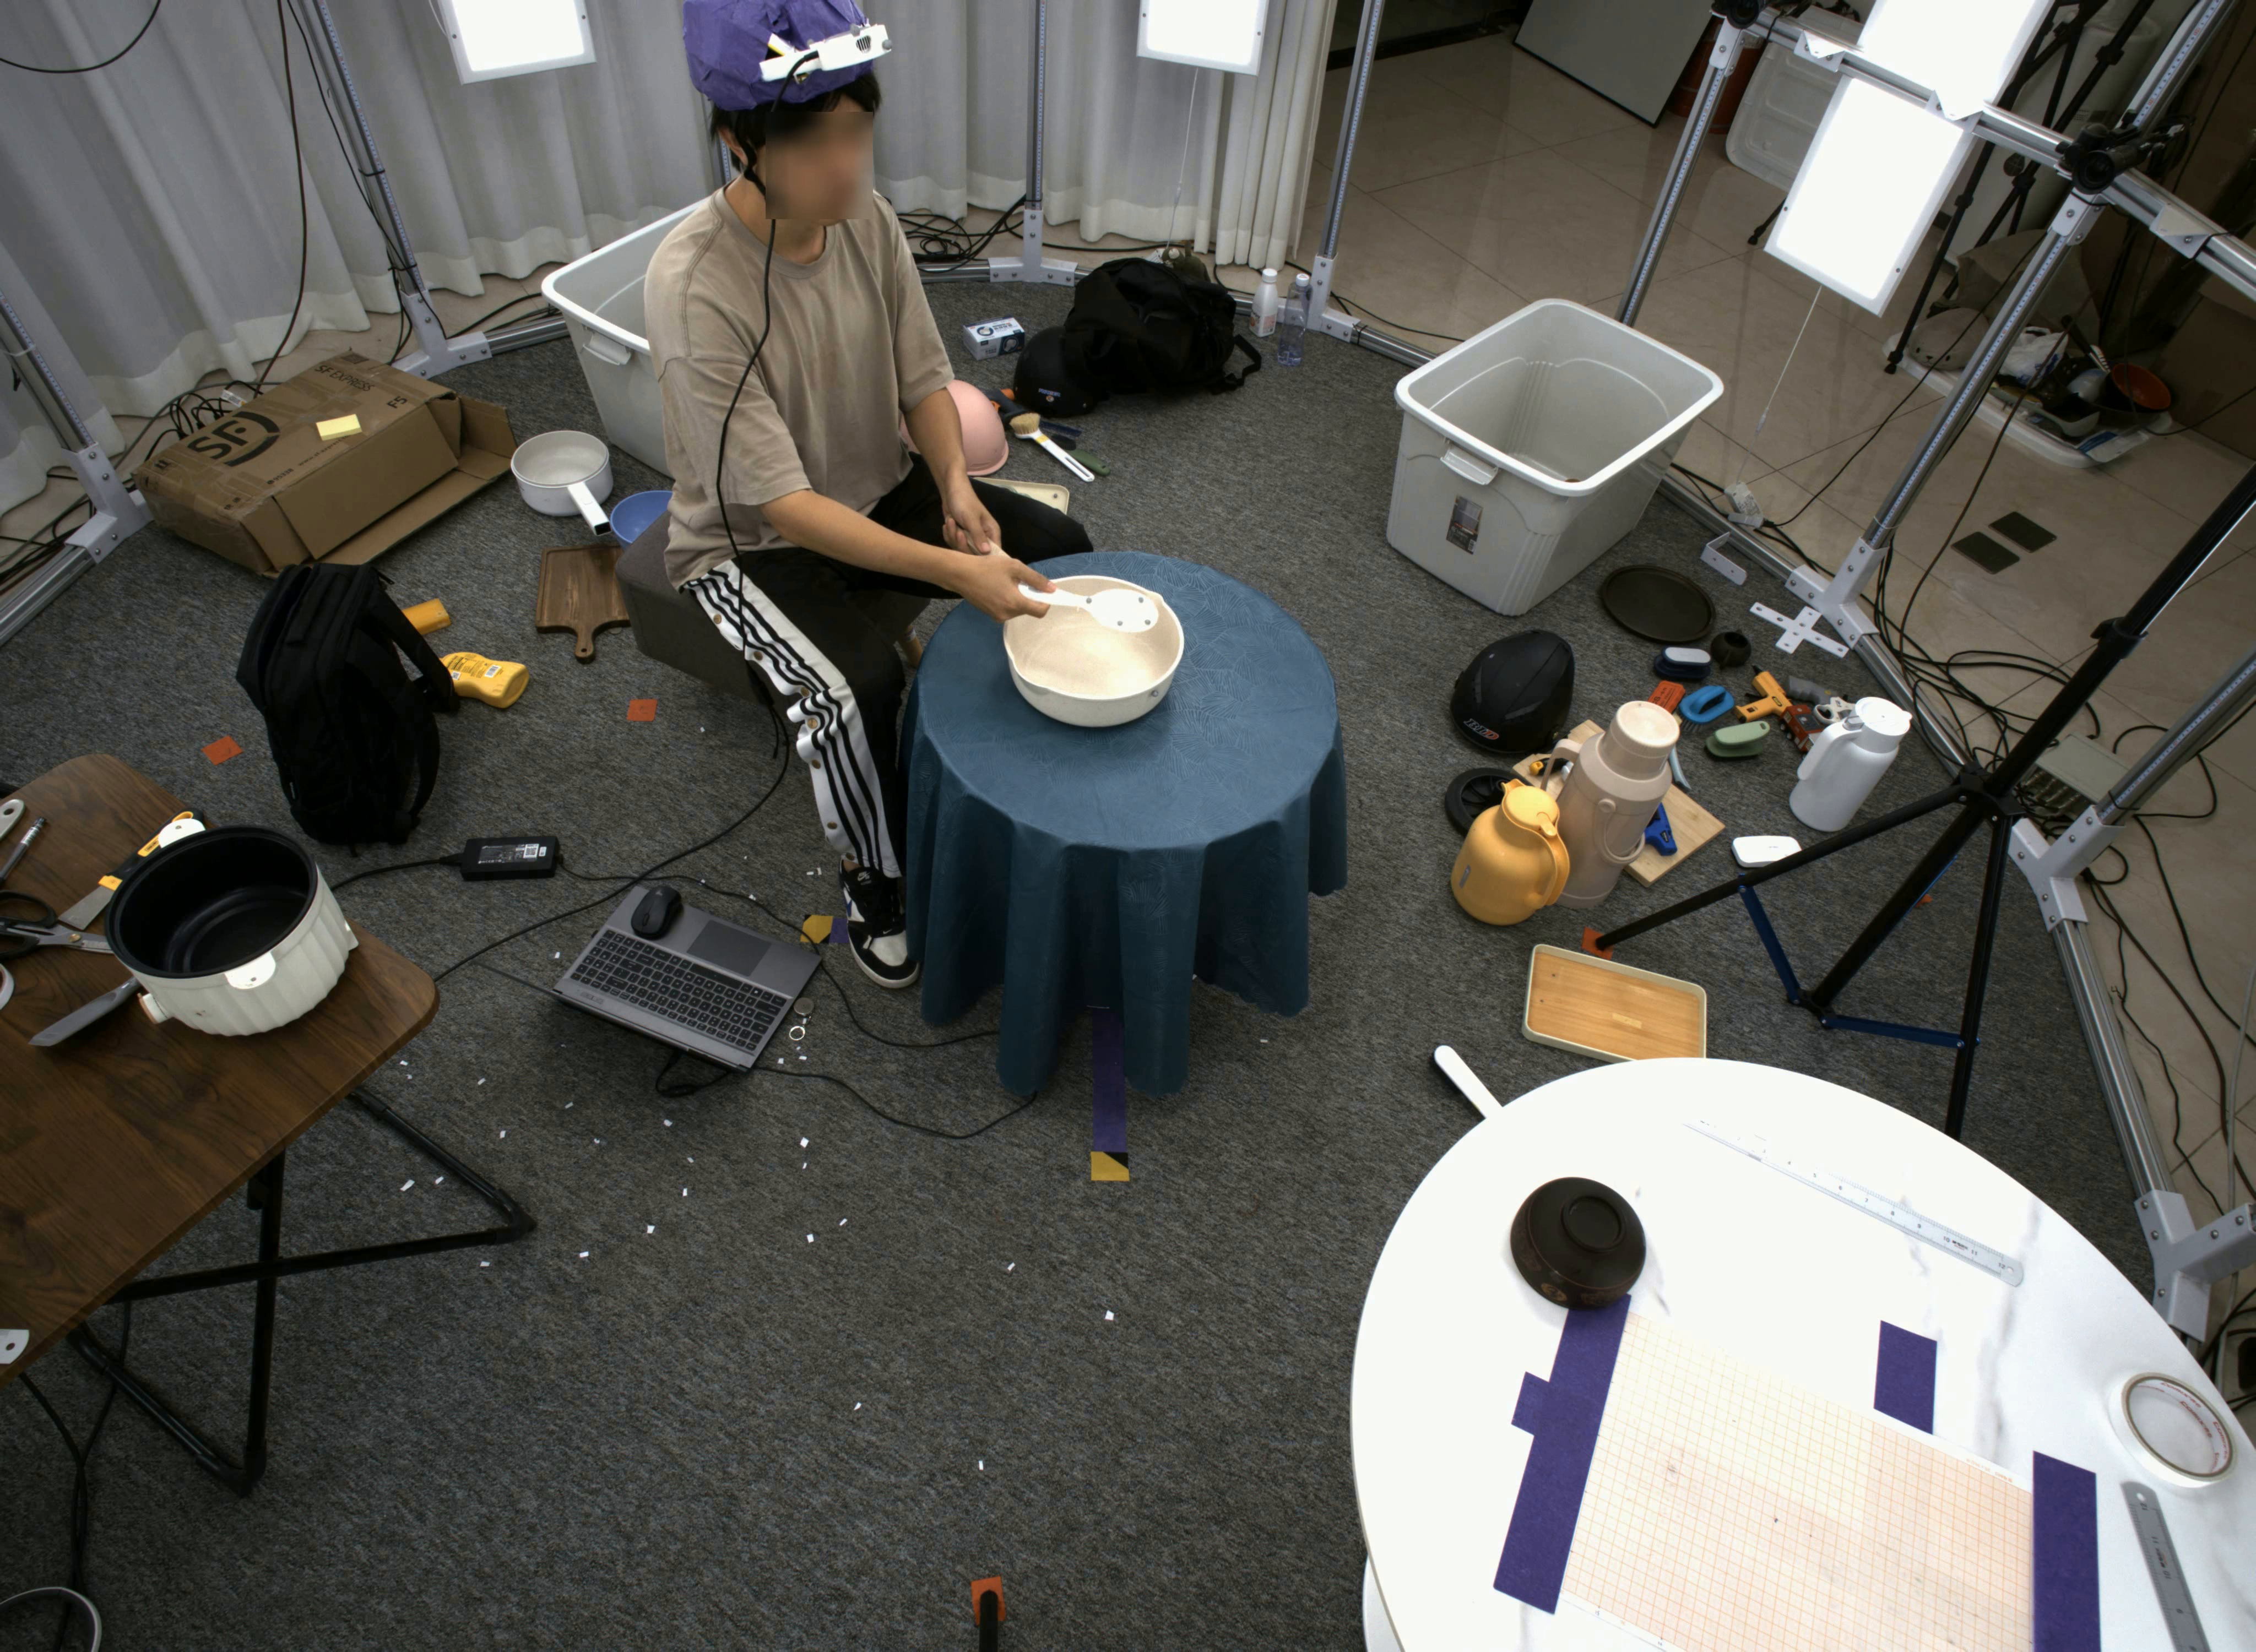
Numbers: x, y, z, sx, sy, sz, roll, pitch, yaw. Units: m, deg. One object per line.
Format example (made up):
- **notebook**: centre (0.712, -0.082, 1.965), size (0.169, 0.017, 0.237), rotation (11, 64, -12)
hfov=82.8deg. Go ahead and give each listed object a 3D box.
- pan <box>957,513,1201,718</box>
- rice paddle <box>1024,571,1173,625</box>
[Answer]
- **pan**: centre (-0.091, -0.310, 1.854), size (0.441, 0.099, 0.266), rotation (38, 58, 26)
- **rice paddle**: centre (-0.038, -0.314, 1.750), size (0.205, 0.029, 0.070), rotation (9, 61, -6)
